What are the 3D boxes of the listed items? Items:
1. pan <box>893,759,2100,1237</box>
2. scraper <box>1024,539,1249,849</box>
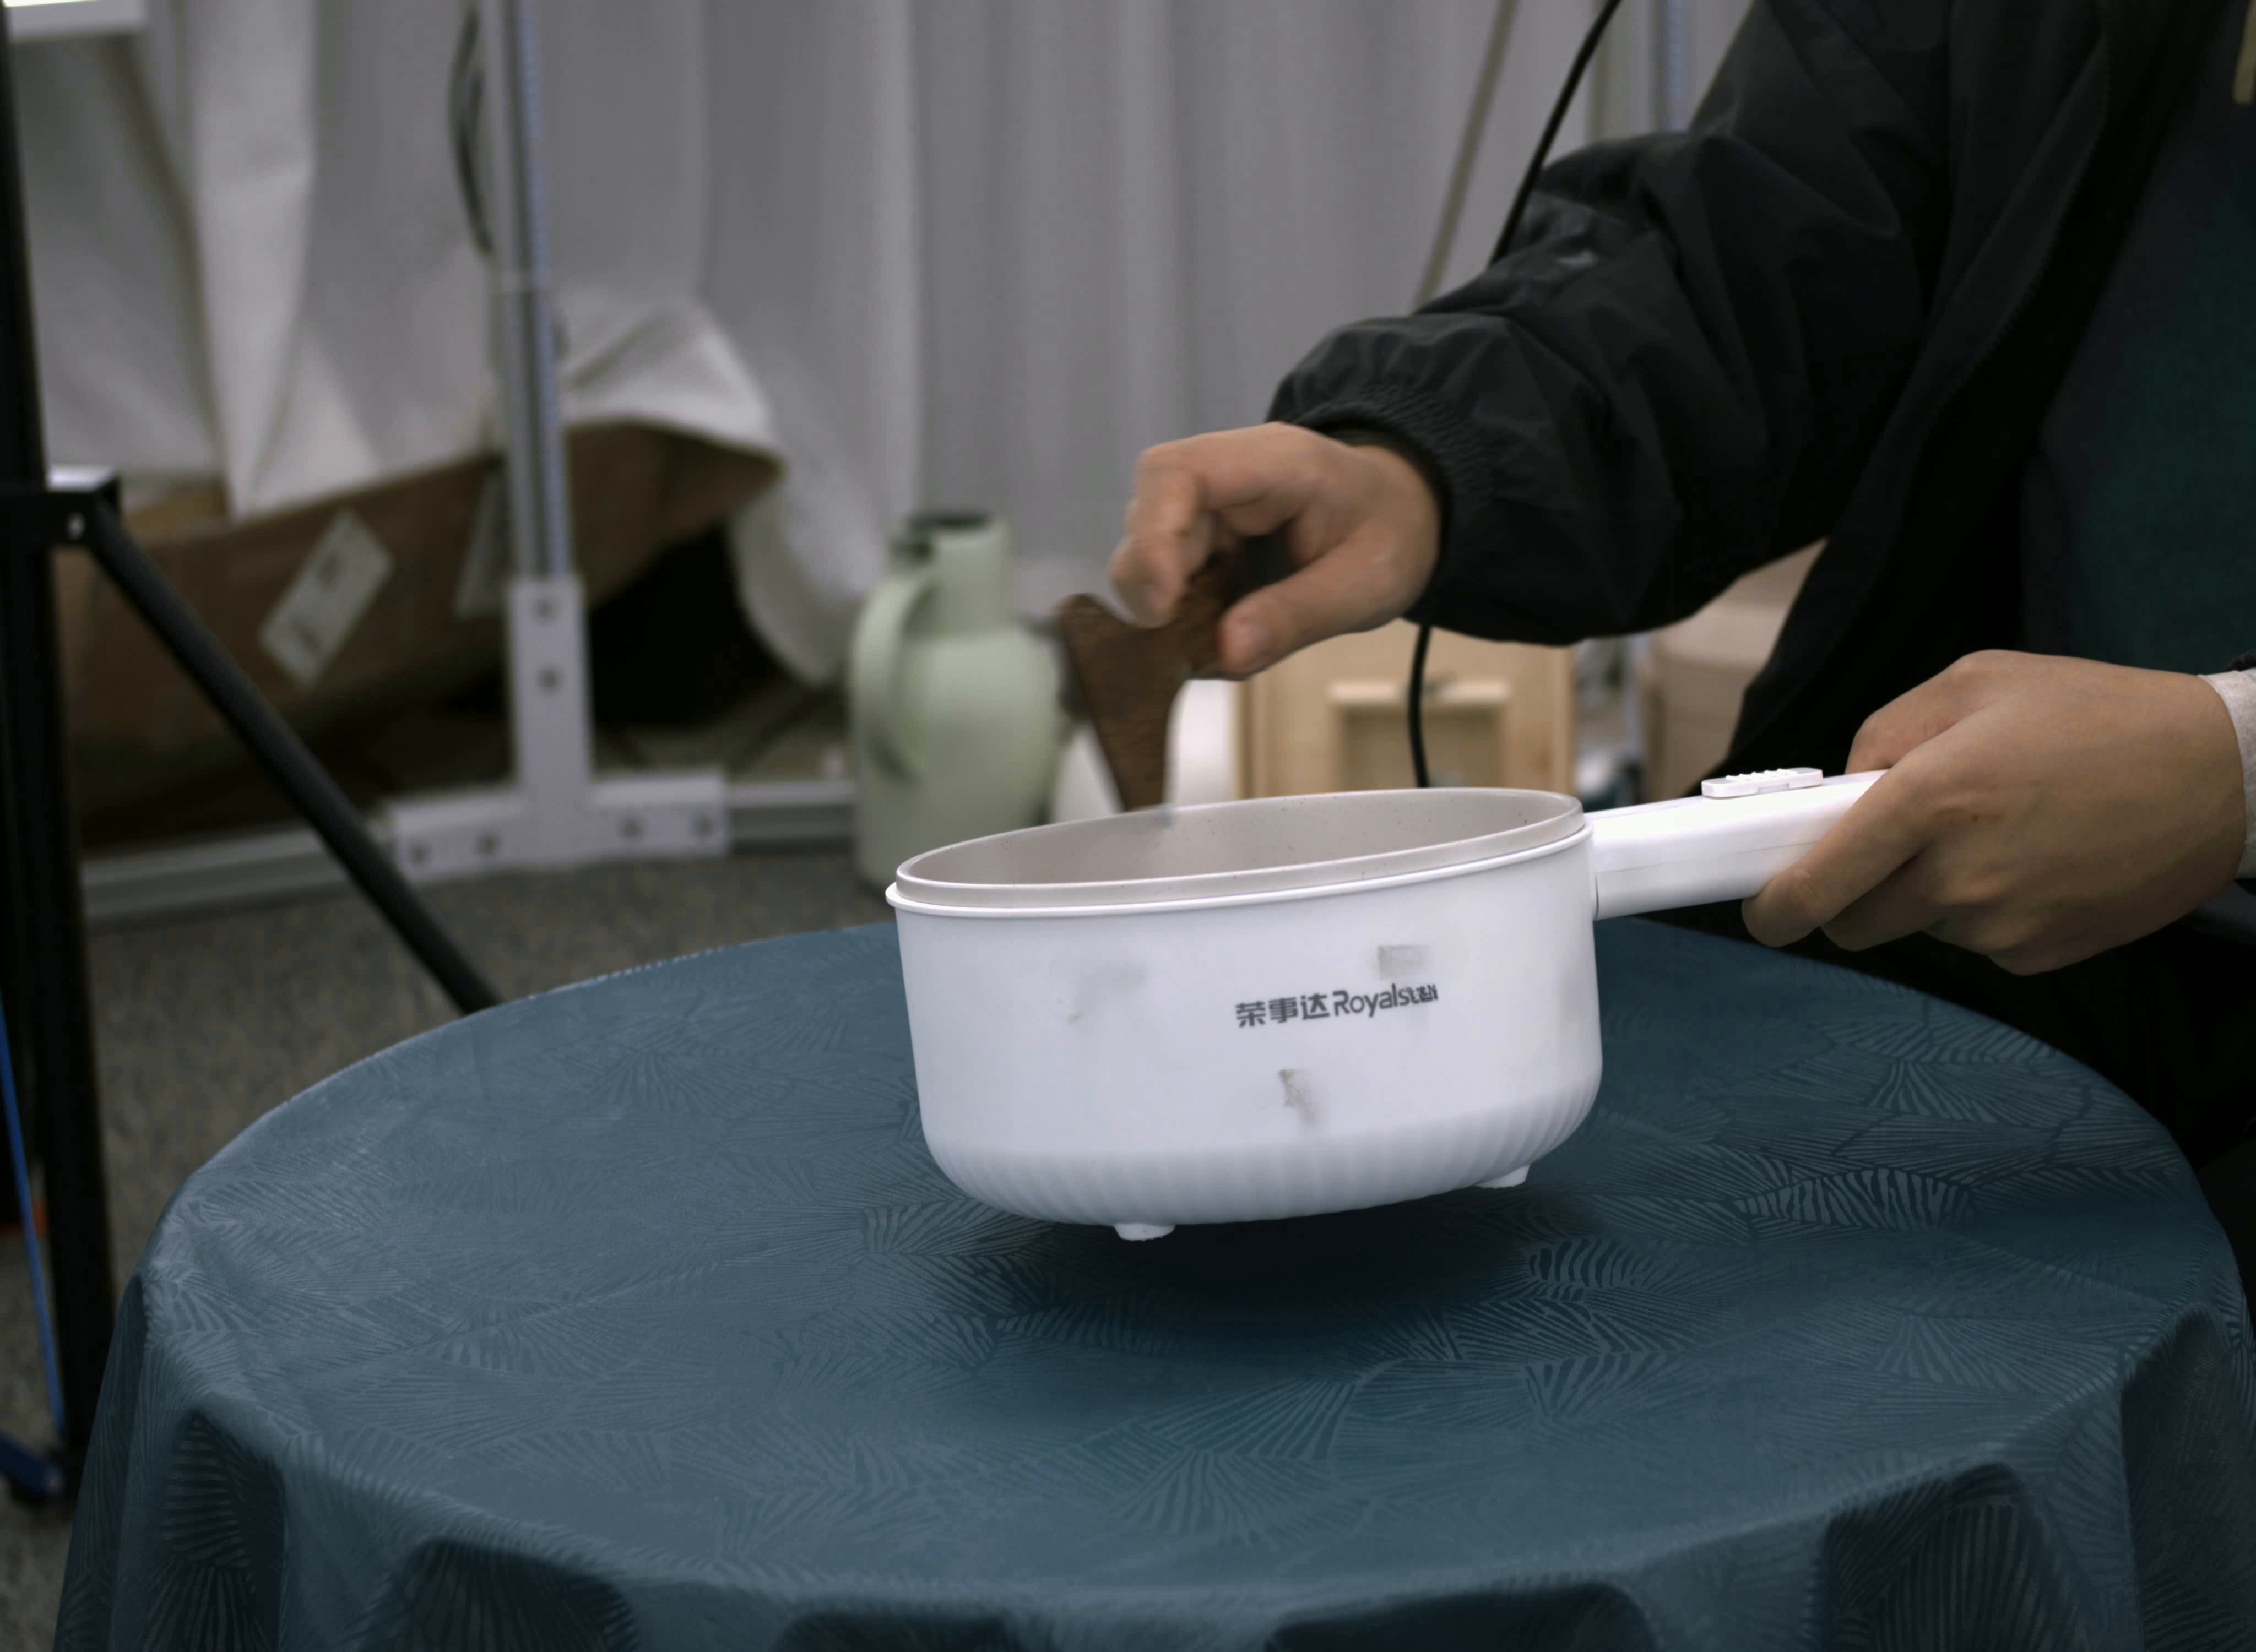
[{"bbox_3d":[0.110,0.045,1.518,0.349,0.102,0.203,-6,5,-13],"label":"pan"},{"bbox_3d":[0.007,-0.051,1.587,0.011,0.076,0.209,-17,10,19],"label":"scraper"}]
